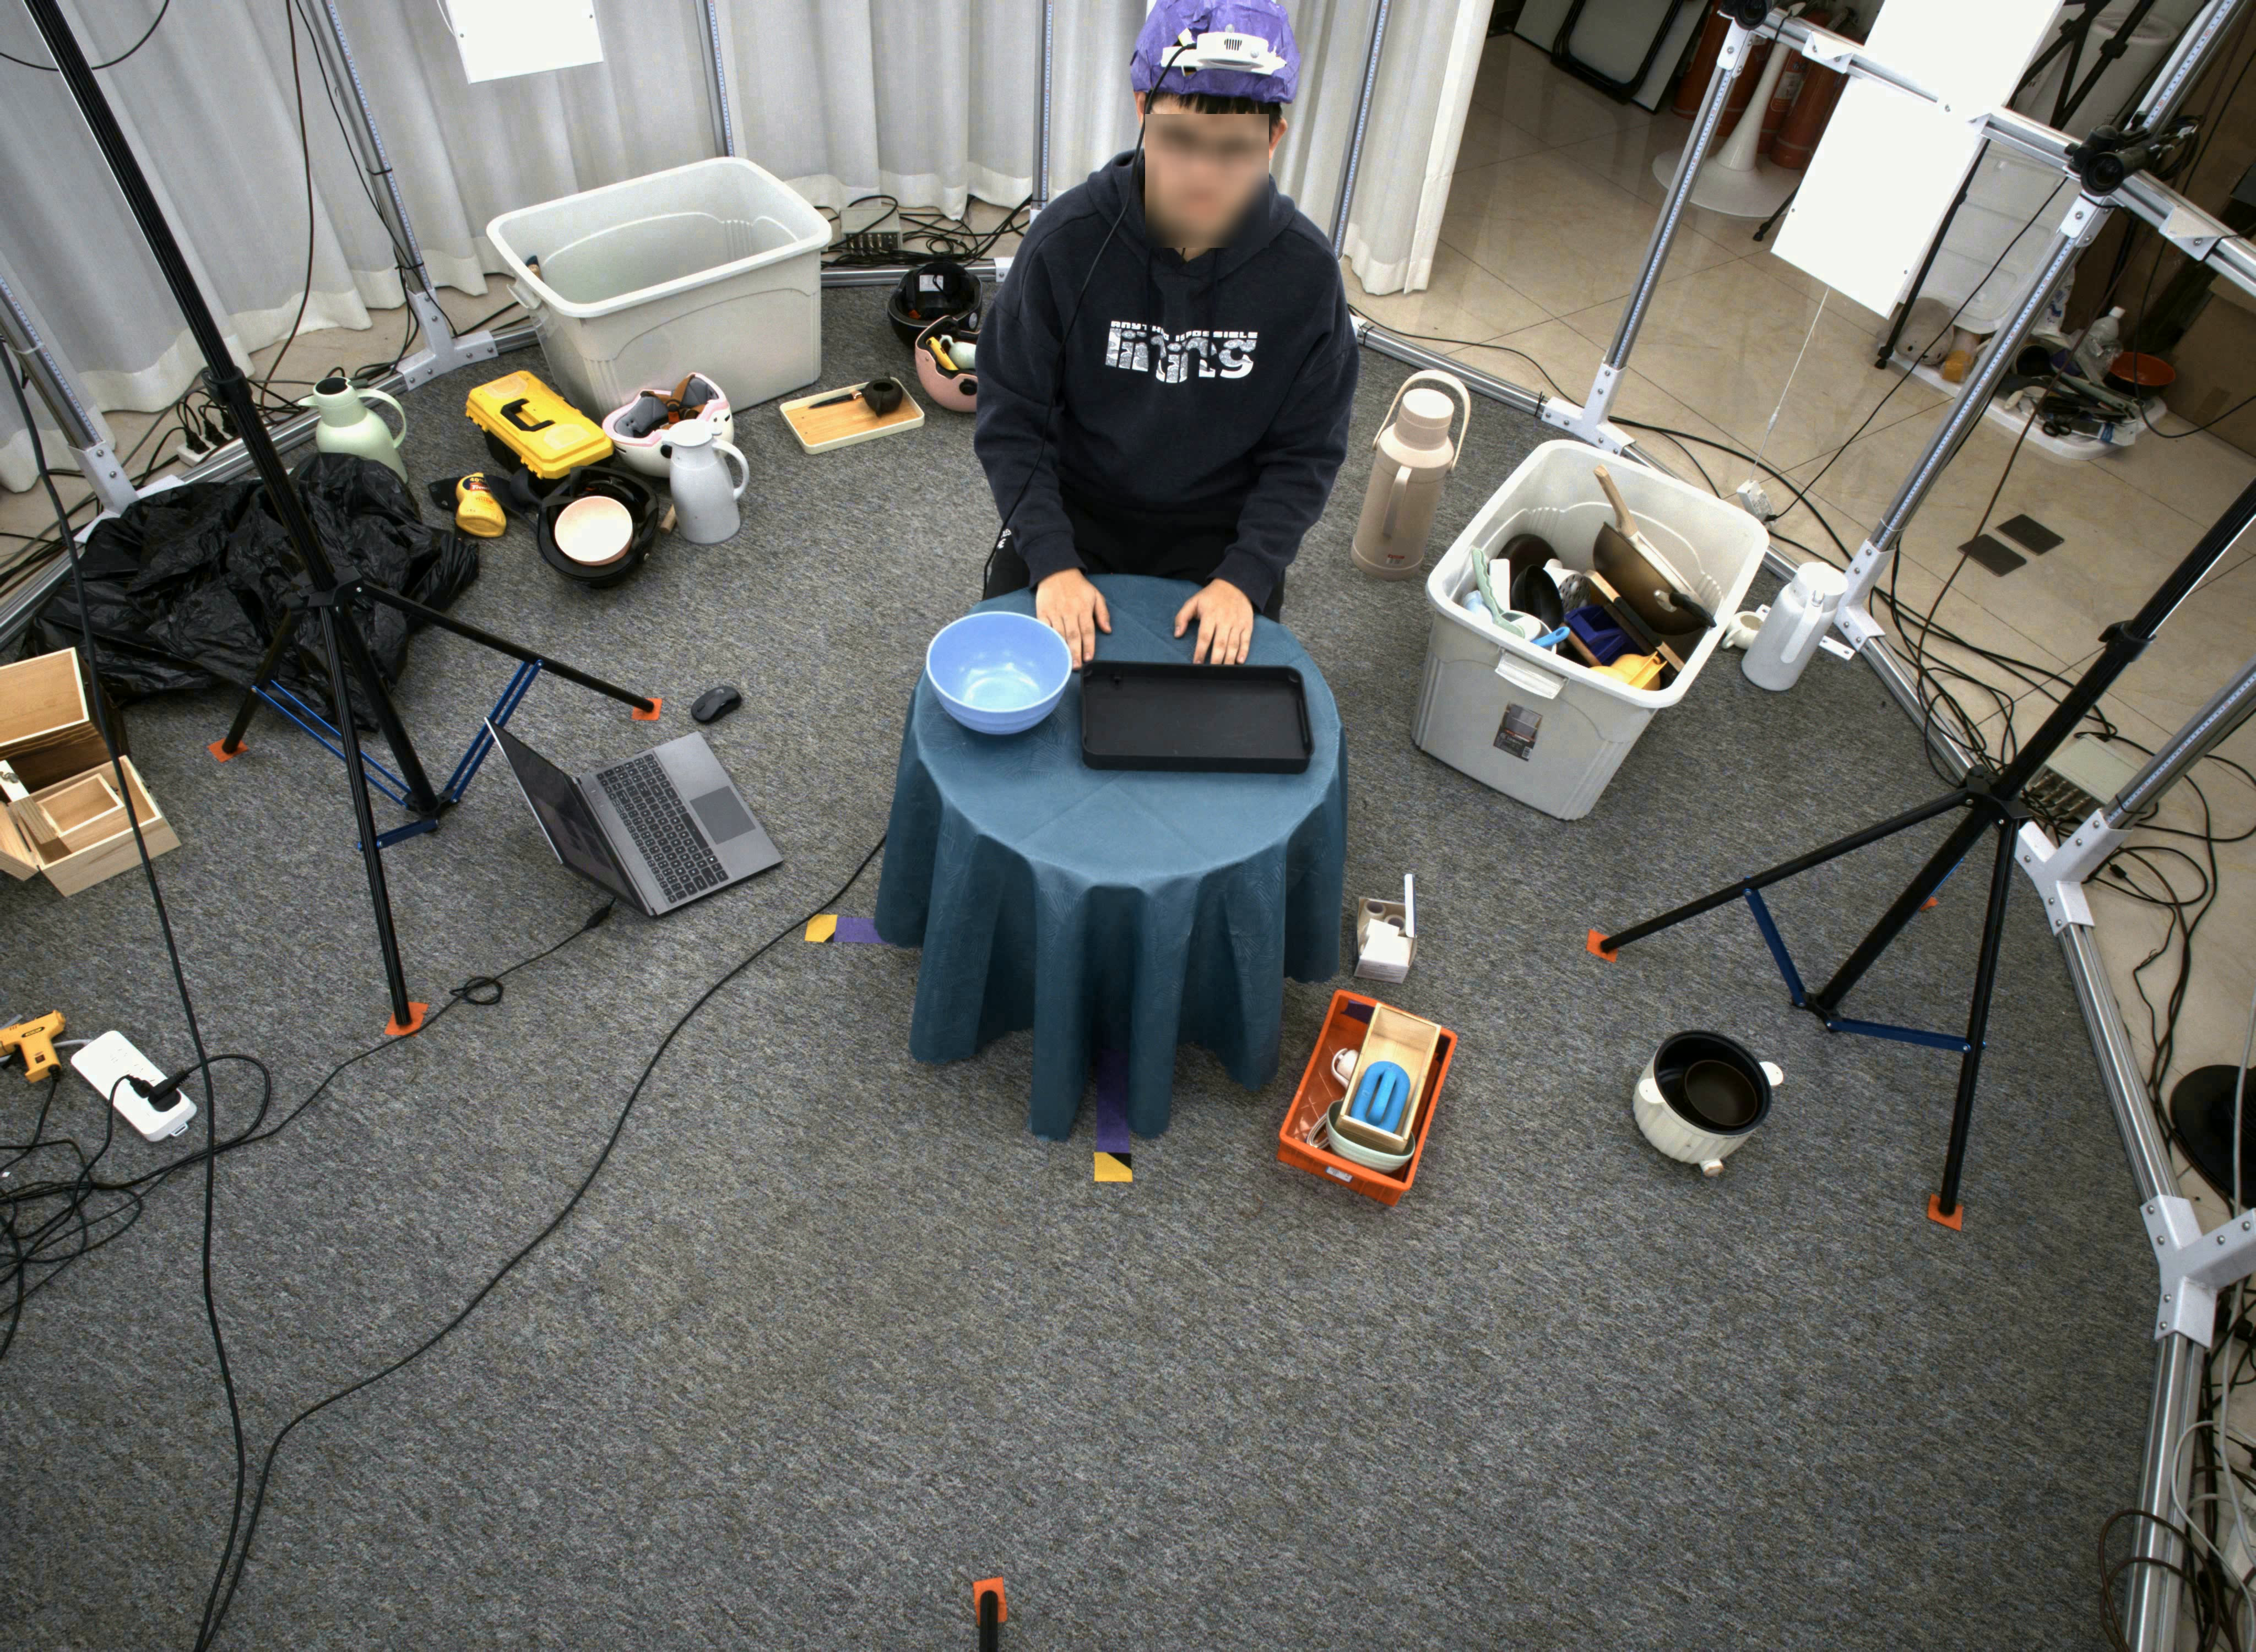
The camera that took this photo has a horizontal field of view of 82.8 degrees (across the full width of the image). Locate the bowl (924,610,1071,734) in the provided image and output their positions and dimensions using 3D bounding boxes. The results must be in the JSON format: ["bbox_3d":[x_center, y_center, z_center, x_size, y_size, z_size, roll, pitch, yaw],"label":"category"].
[{"bbox_3d":[-0.176,-0.196,1.758,0.196,0.093,0.201,1,50,-1],"label":"bowl"}]

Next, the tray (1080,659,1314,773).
[{"bbox_3d":[0.091,-0.154,1.781,0.317,0.036,0.189,1,49,-4],"label":"tray"}]
